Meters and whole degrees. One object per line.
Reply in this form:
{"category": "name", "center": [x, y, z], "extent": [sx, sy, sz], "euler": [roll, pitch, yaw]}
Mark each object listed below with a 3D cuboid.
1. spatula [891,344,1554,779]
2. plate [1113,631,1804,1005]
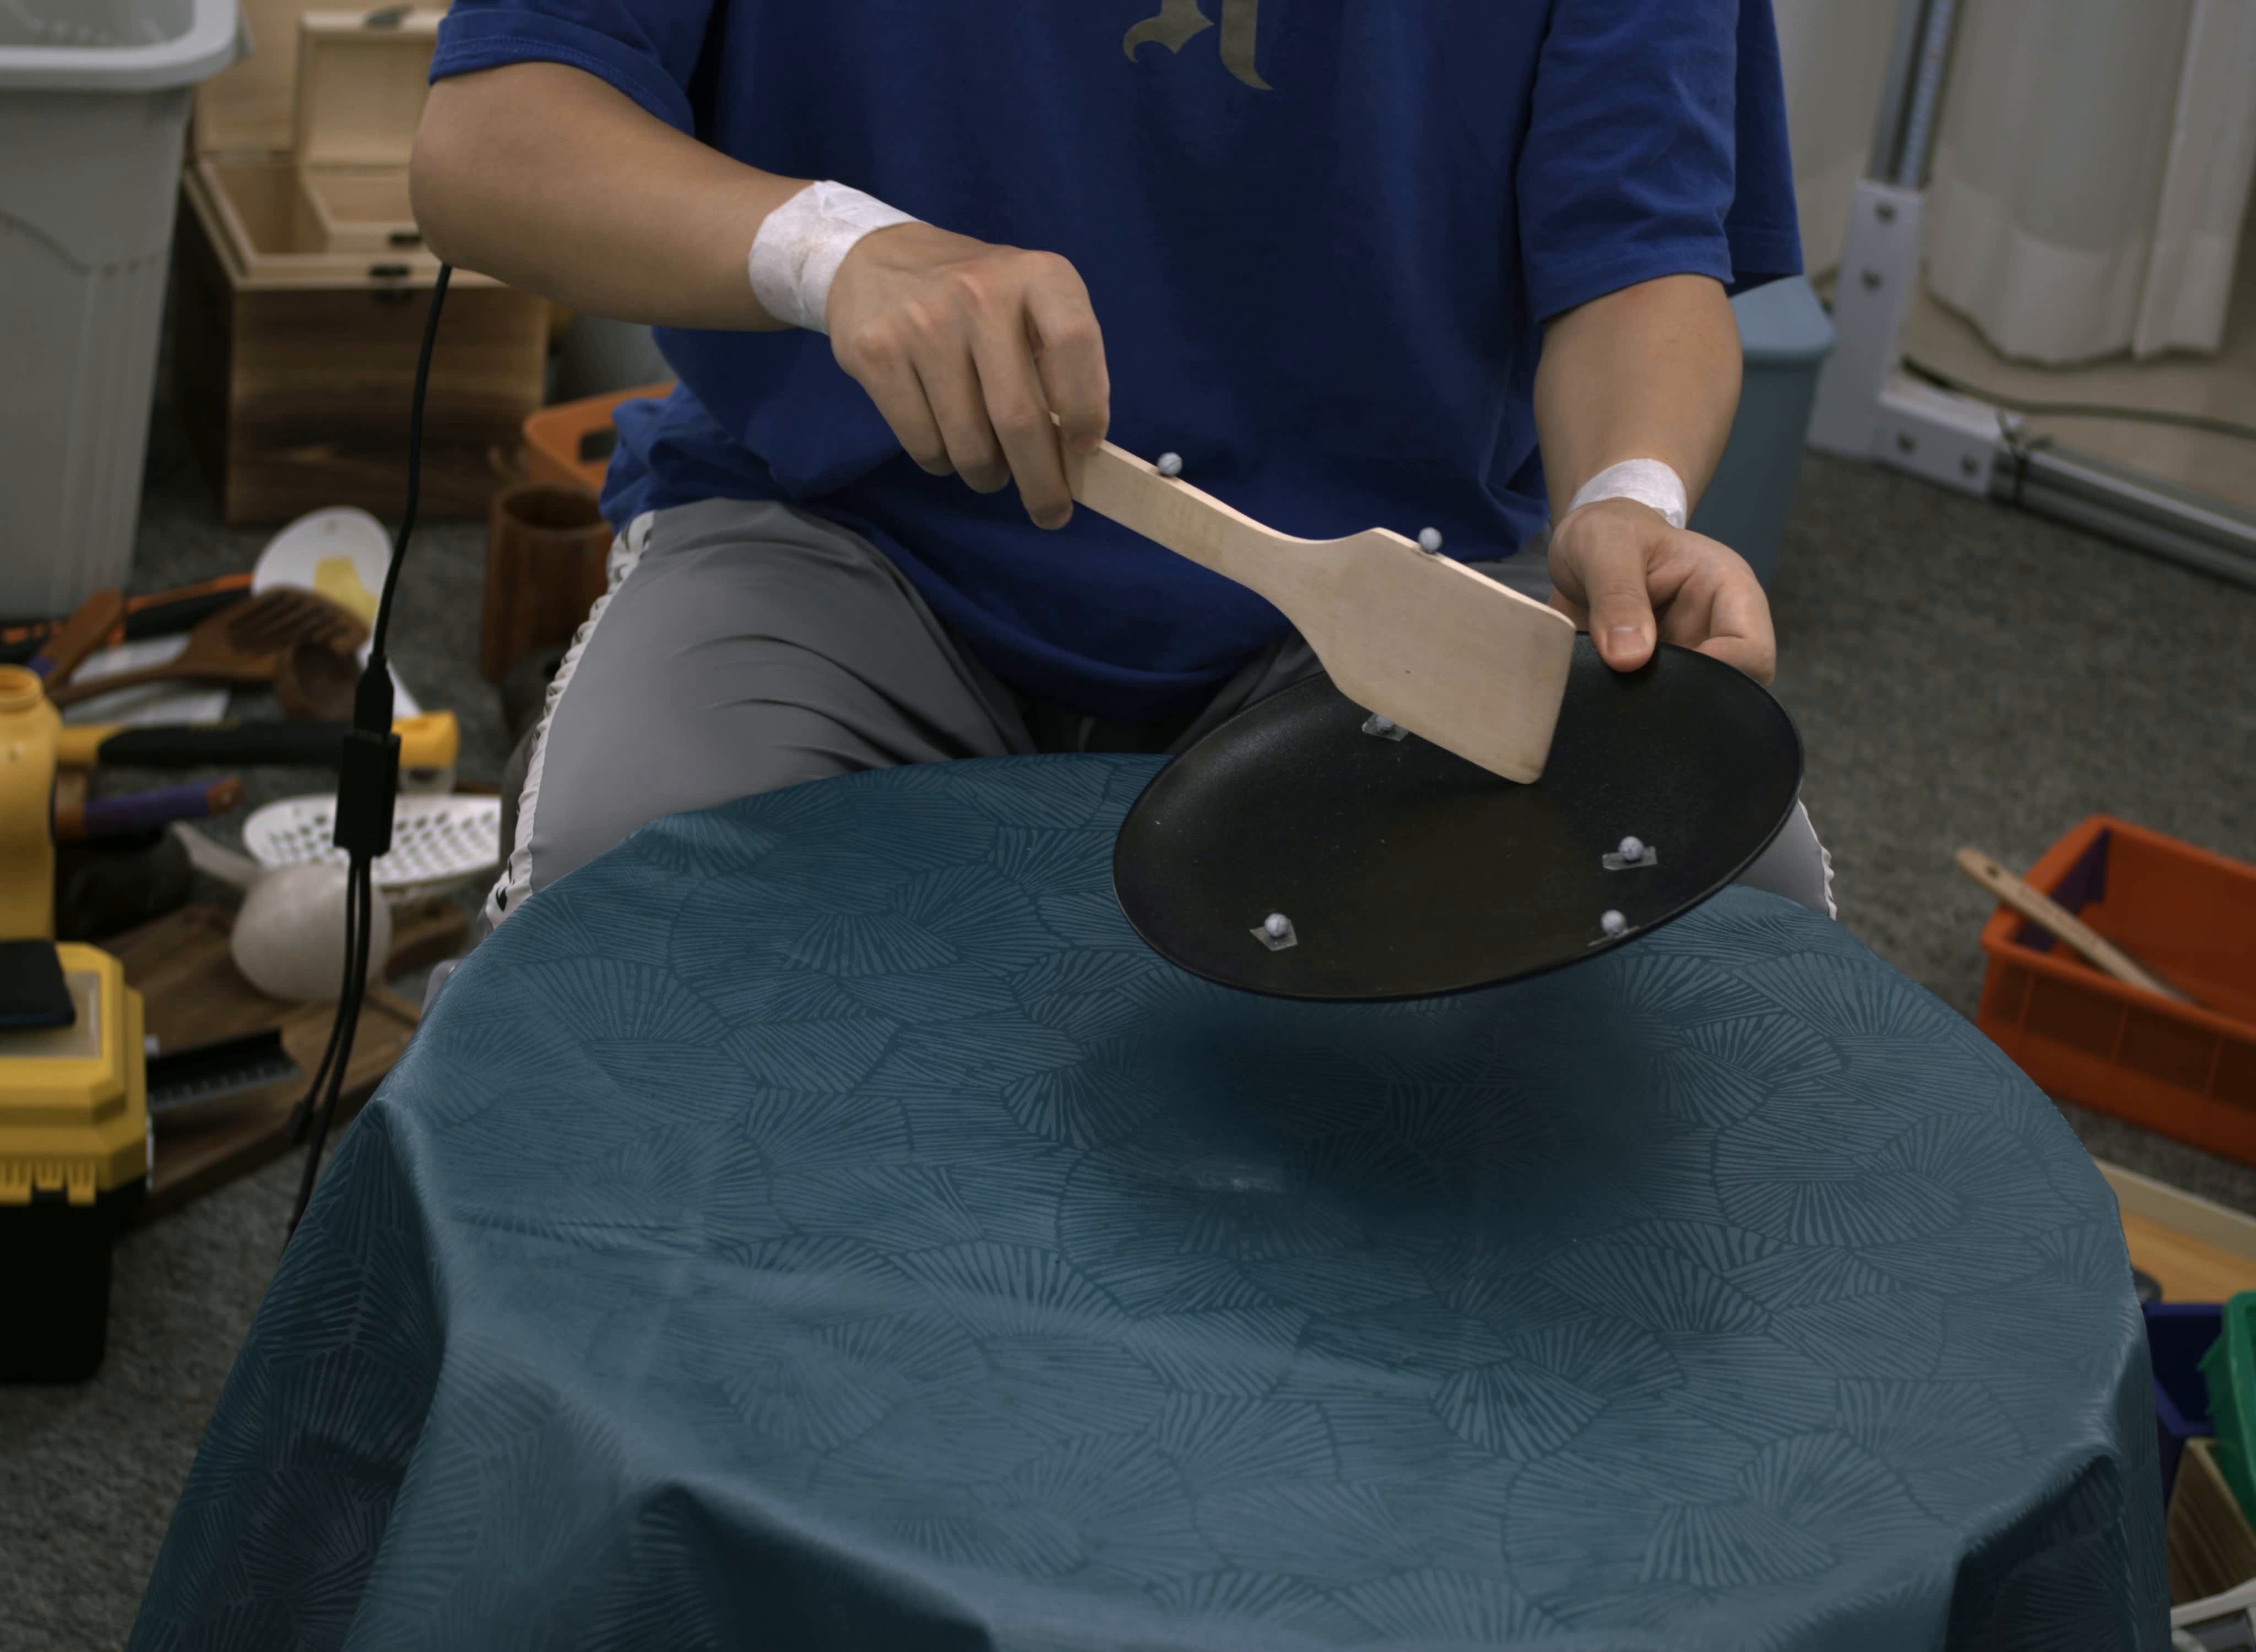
{"category": "spatula", "center": [0.027, -0.107, 1.917], "extent": [0.295, 0.072, 0.010], "euler": [29, 38, 26]}
{"category": "plate", "center": [0.115, 0.001, 1.846], "extent": [0.244, 0.023, 0.246], "euler": [-11, 29, 6]}
